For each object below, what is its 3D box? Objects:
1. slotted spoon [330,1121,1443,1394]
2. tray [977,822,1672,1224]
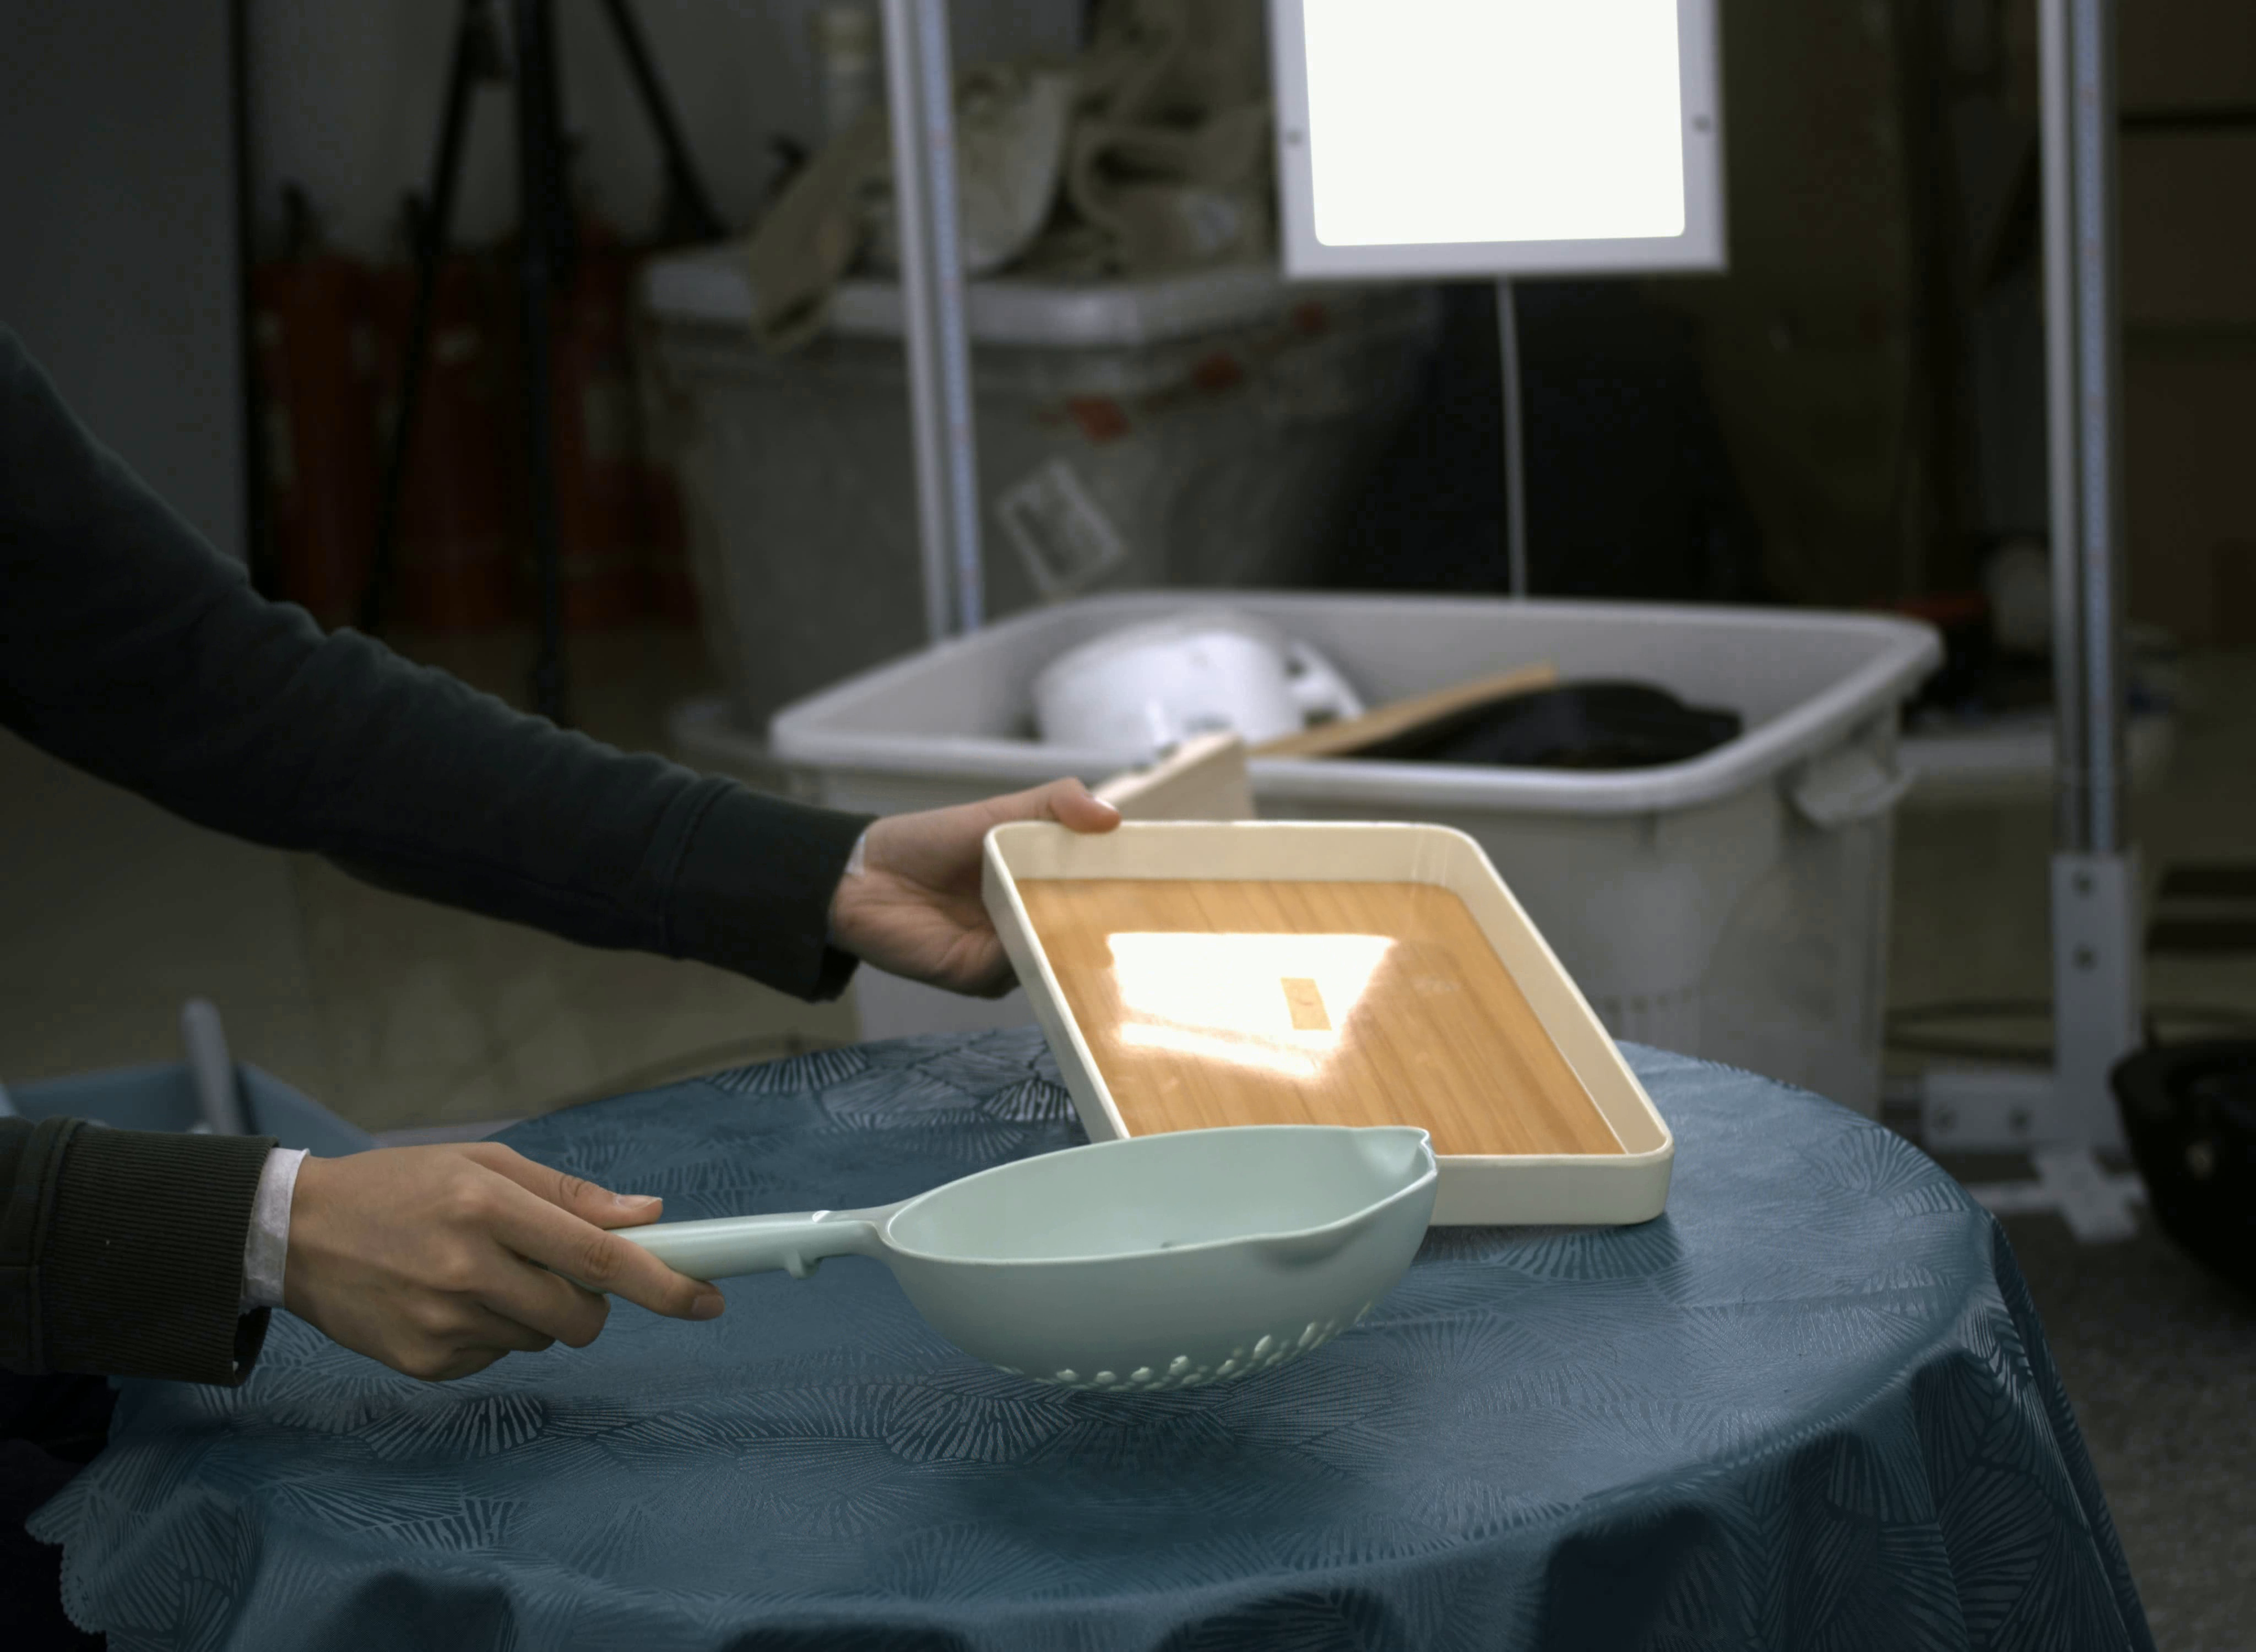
[{"bbox_3d":[-0.081,0.130,1.694,0.363,0.075,0.167,3,10,17],"label":"slotted spoon"},{"bbox_3d":[0.062,0.065,1.932,0.189,0.027,0.301,0,21,-11],"label":"tray"}]
